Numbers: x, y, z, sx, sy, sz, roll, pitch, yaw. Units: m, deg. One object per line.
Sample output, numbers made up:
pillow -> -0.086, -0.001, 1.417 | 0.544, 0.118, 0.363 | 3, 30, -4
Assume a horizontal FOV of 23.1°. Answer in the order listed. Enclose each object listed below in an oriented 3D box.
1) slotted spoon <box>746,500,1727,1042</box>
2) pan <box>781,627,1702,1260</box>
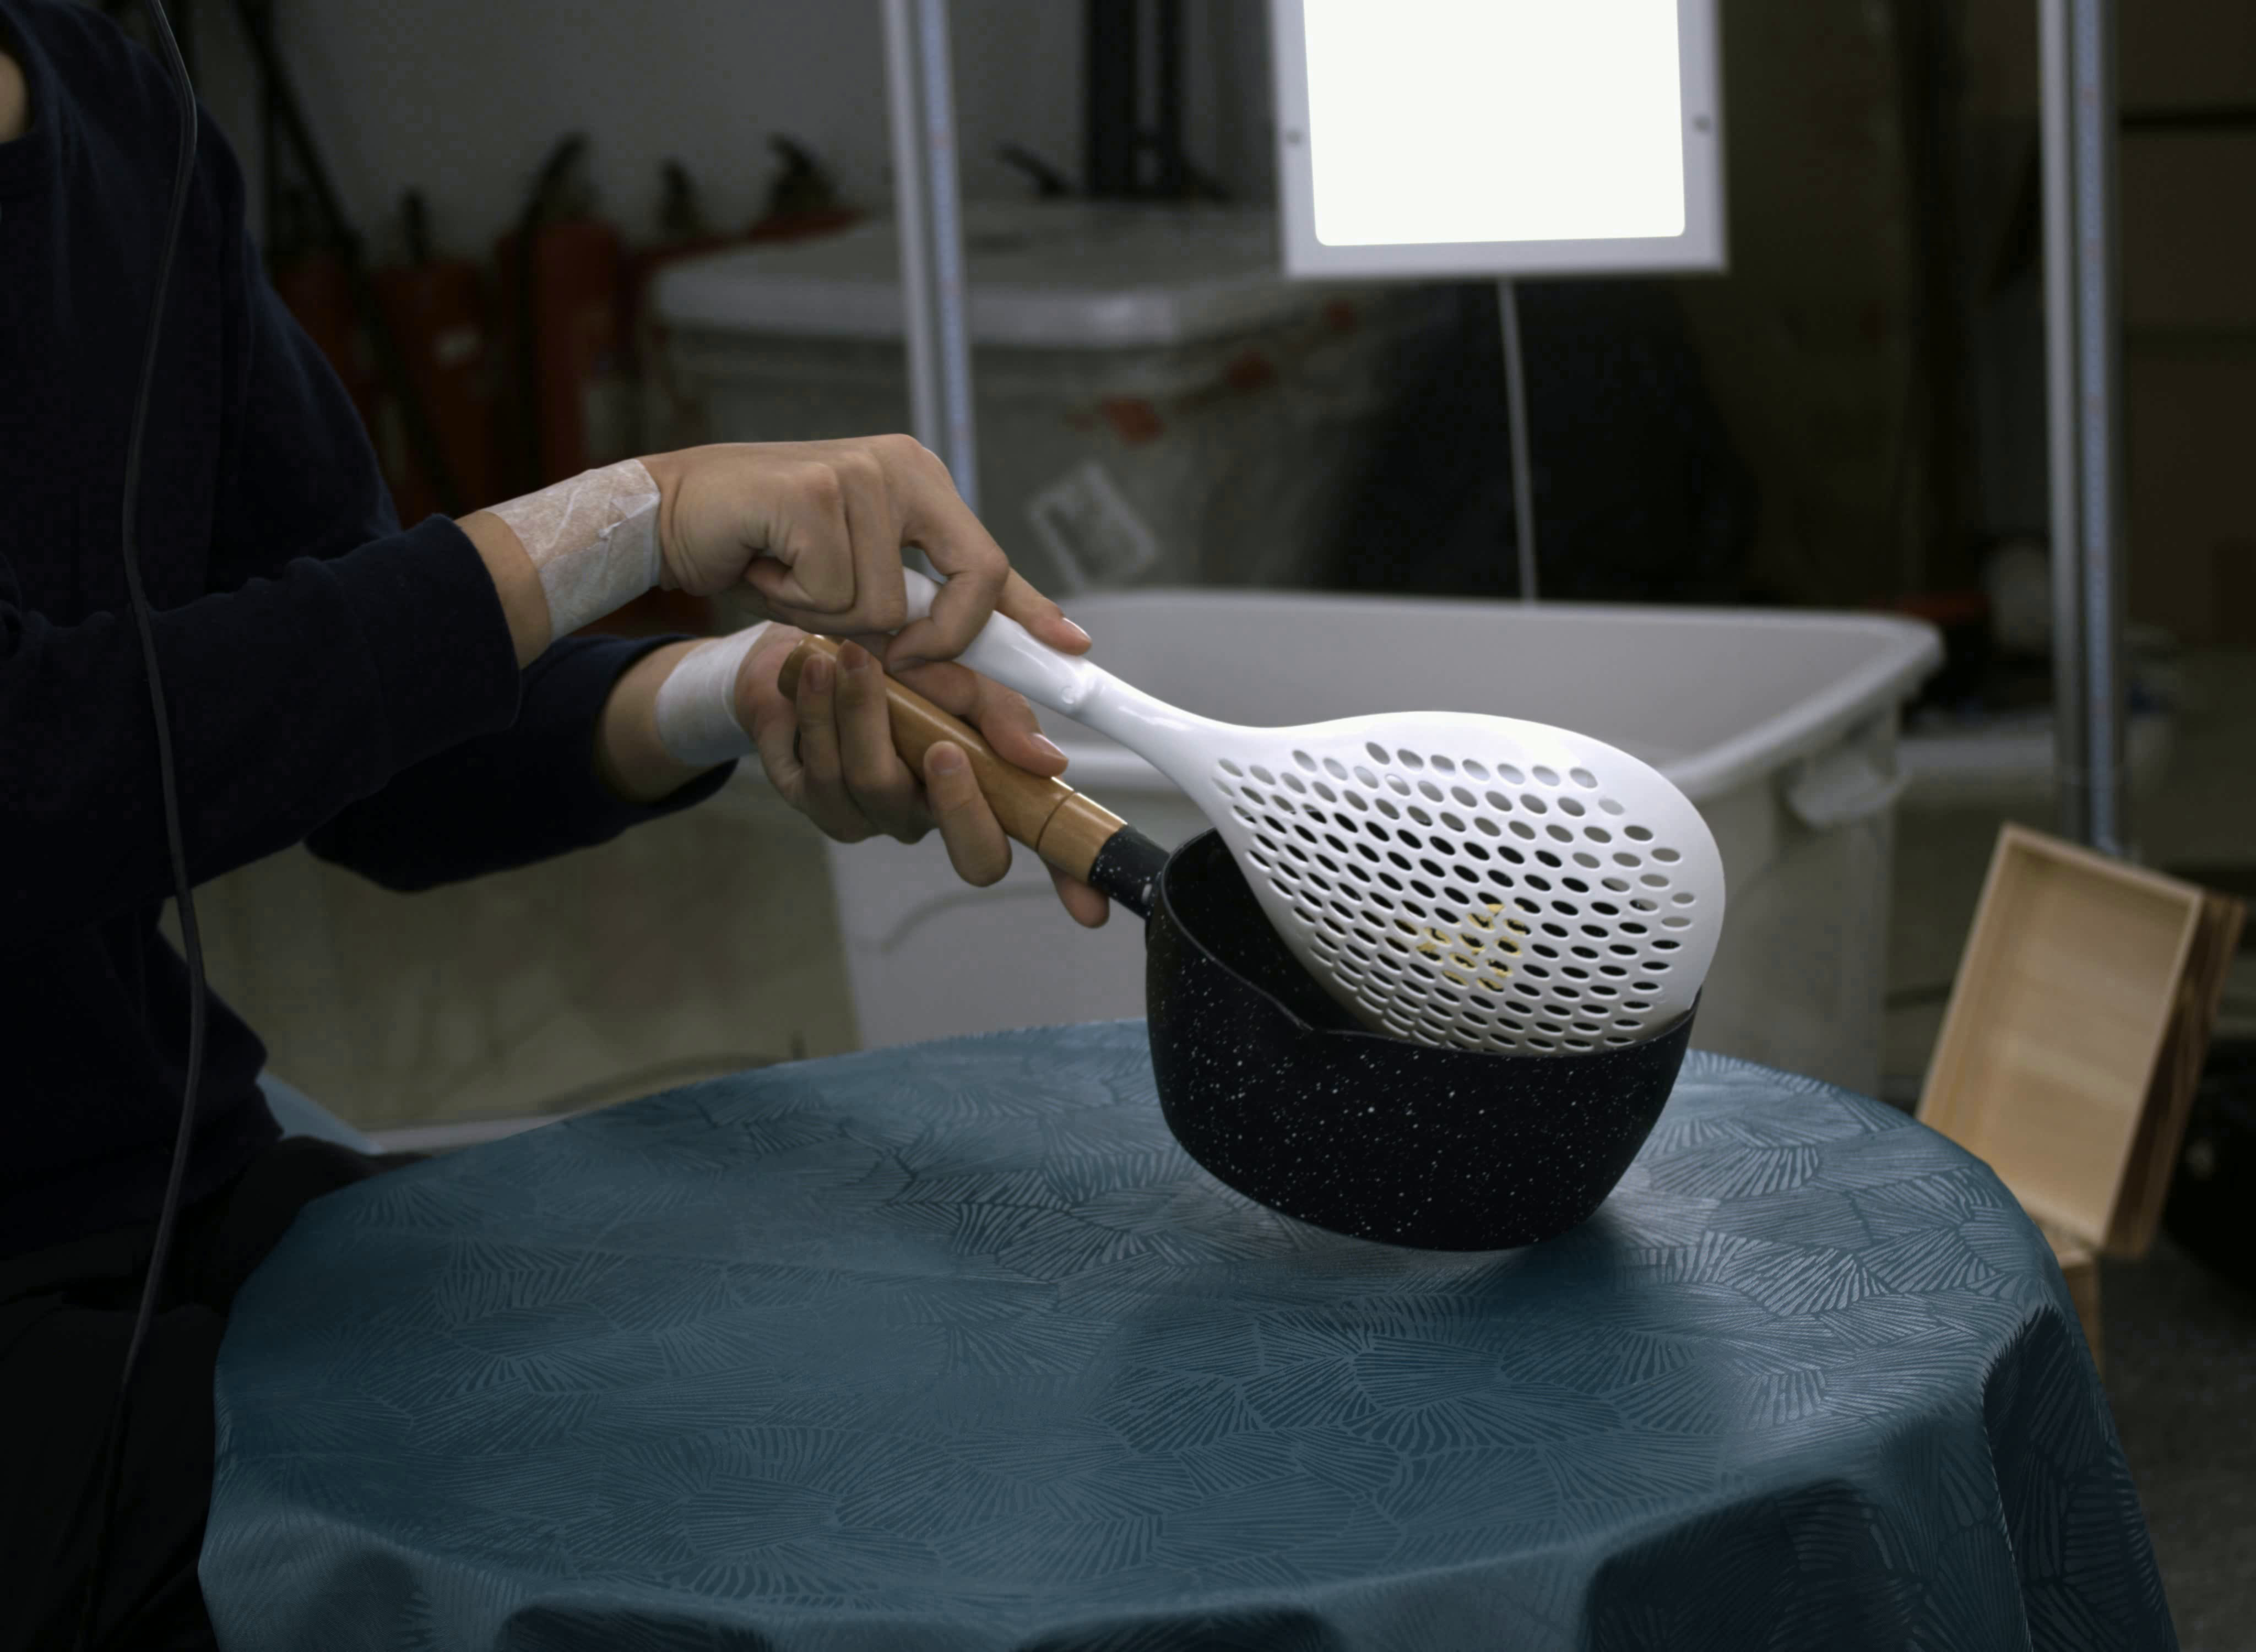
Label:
slotted spoon -> 0.029, -0.019, 1.802 | 0.350, 0.138, 0.049 | 30, 30, 12
pan -> 0.024, 0.036, 1.860 | 0.347, 0.109, 0.203 | 20, 26, 20
